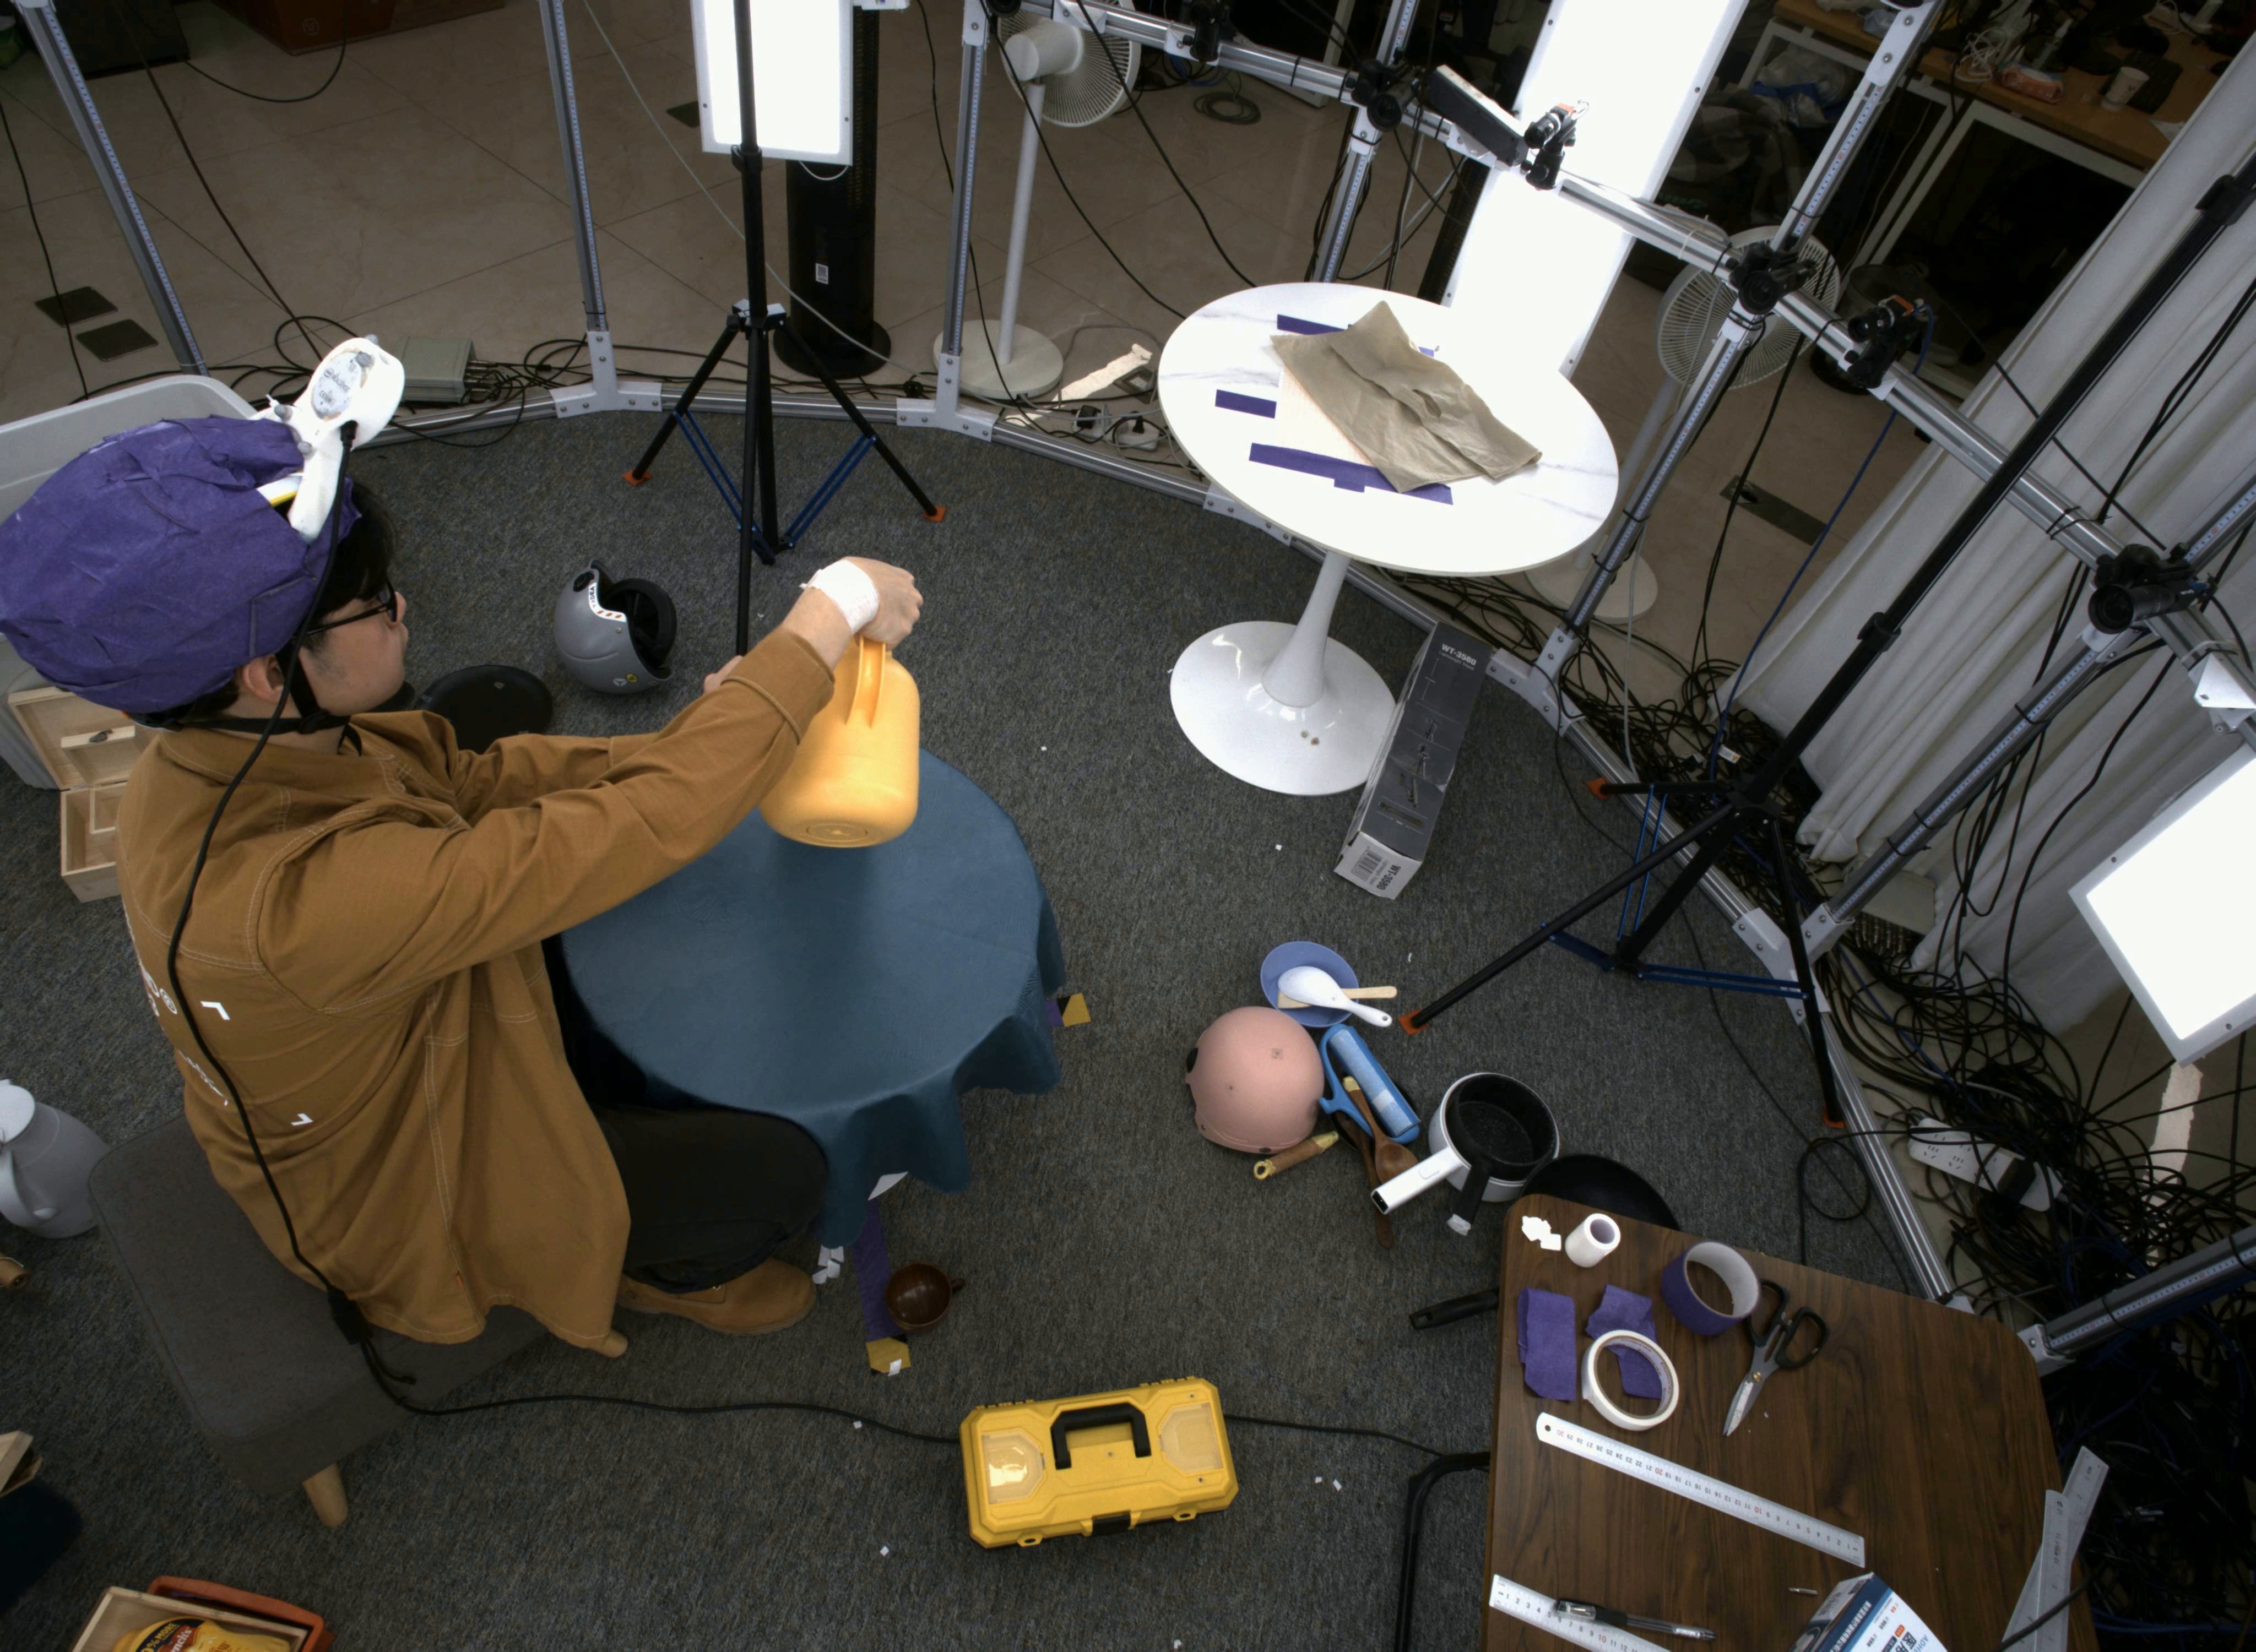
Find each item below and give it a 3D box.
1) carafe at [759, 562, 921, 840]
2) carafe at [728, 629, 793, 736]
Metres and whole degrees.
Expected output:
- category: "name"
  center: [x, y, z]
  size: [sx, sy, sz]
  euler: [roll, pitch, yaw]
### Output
- category: "carafe"
  center: [-0.294, -0.133, 1.327]
  size: [0.165, 0.201, 0.259]
  euler: [1, 72, -23]
- category: "carafe"
  center: [-0.391, -0.120, 1.578]
  size: [0.173, 0.272, 0.122]
  euler: [0, 62, -12]
